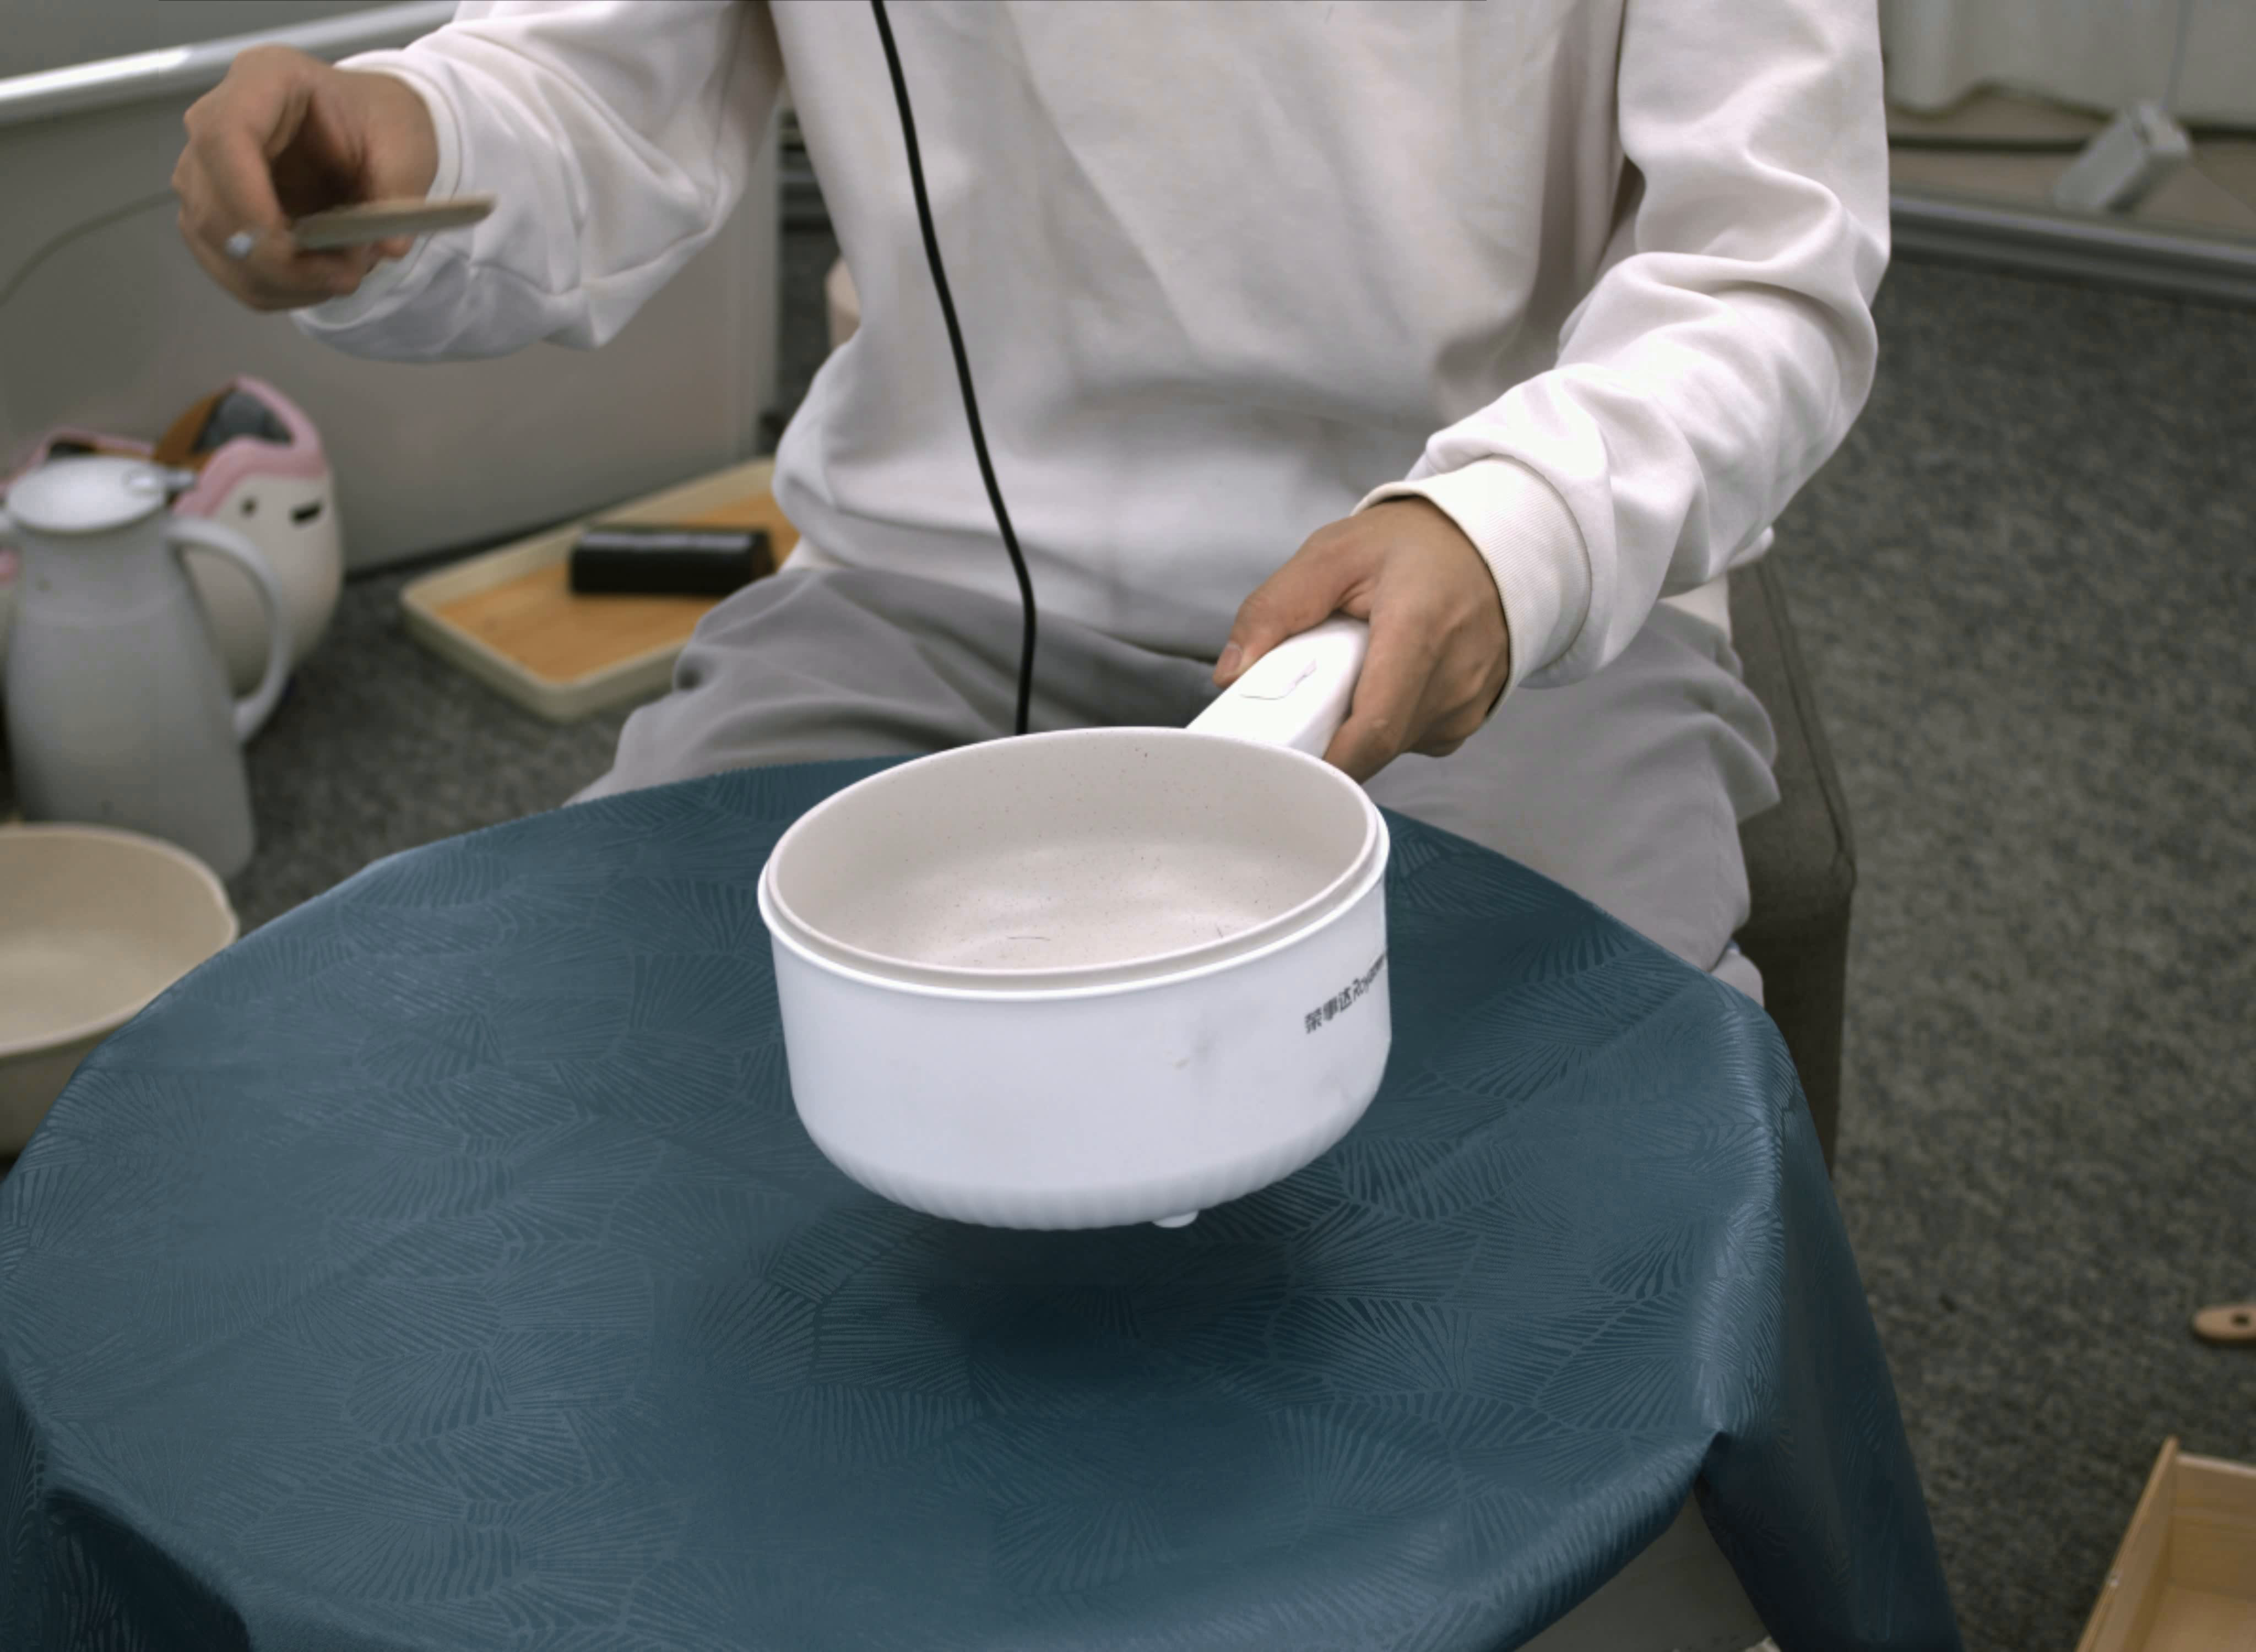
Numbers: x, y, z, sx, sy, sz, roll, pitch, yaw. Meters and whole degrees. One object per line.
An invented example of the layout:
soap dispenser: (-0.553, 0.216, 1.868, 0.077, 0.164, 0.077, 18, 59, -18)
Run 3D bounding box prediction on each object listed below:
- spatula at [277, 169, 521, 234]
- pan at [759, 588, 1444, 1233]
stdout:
spatula: (-0.251, -0.200, 1.841, 0.072, 0.010, 0.292, -10, 7, -13)
pan: (0.019, 0.025, 1.862, 0.199, 0.101, 0.360, 4, 23, 25)
